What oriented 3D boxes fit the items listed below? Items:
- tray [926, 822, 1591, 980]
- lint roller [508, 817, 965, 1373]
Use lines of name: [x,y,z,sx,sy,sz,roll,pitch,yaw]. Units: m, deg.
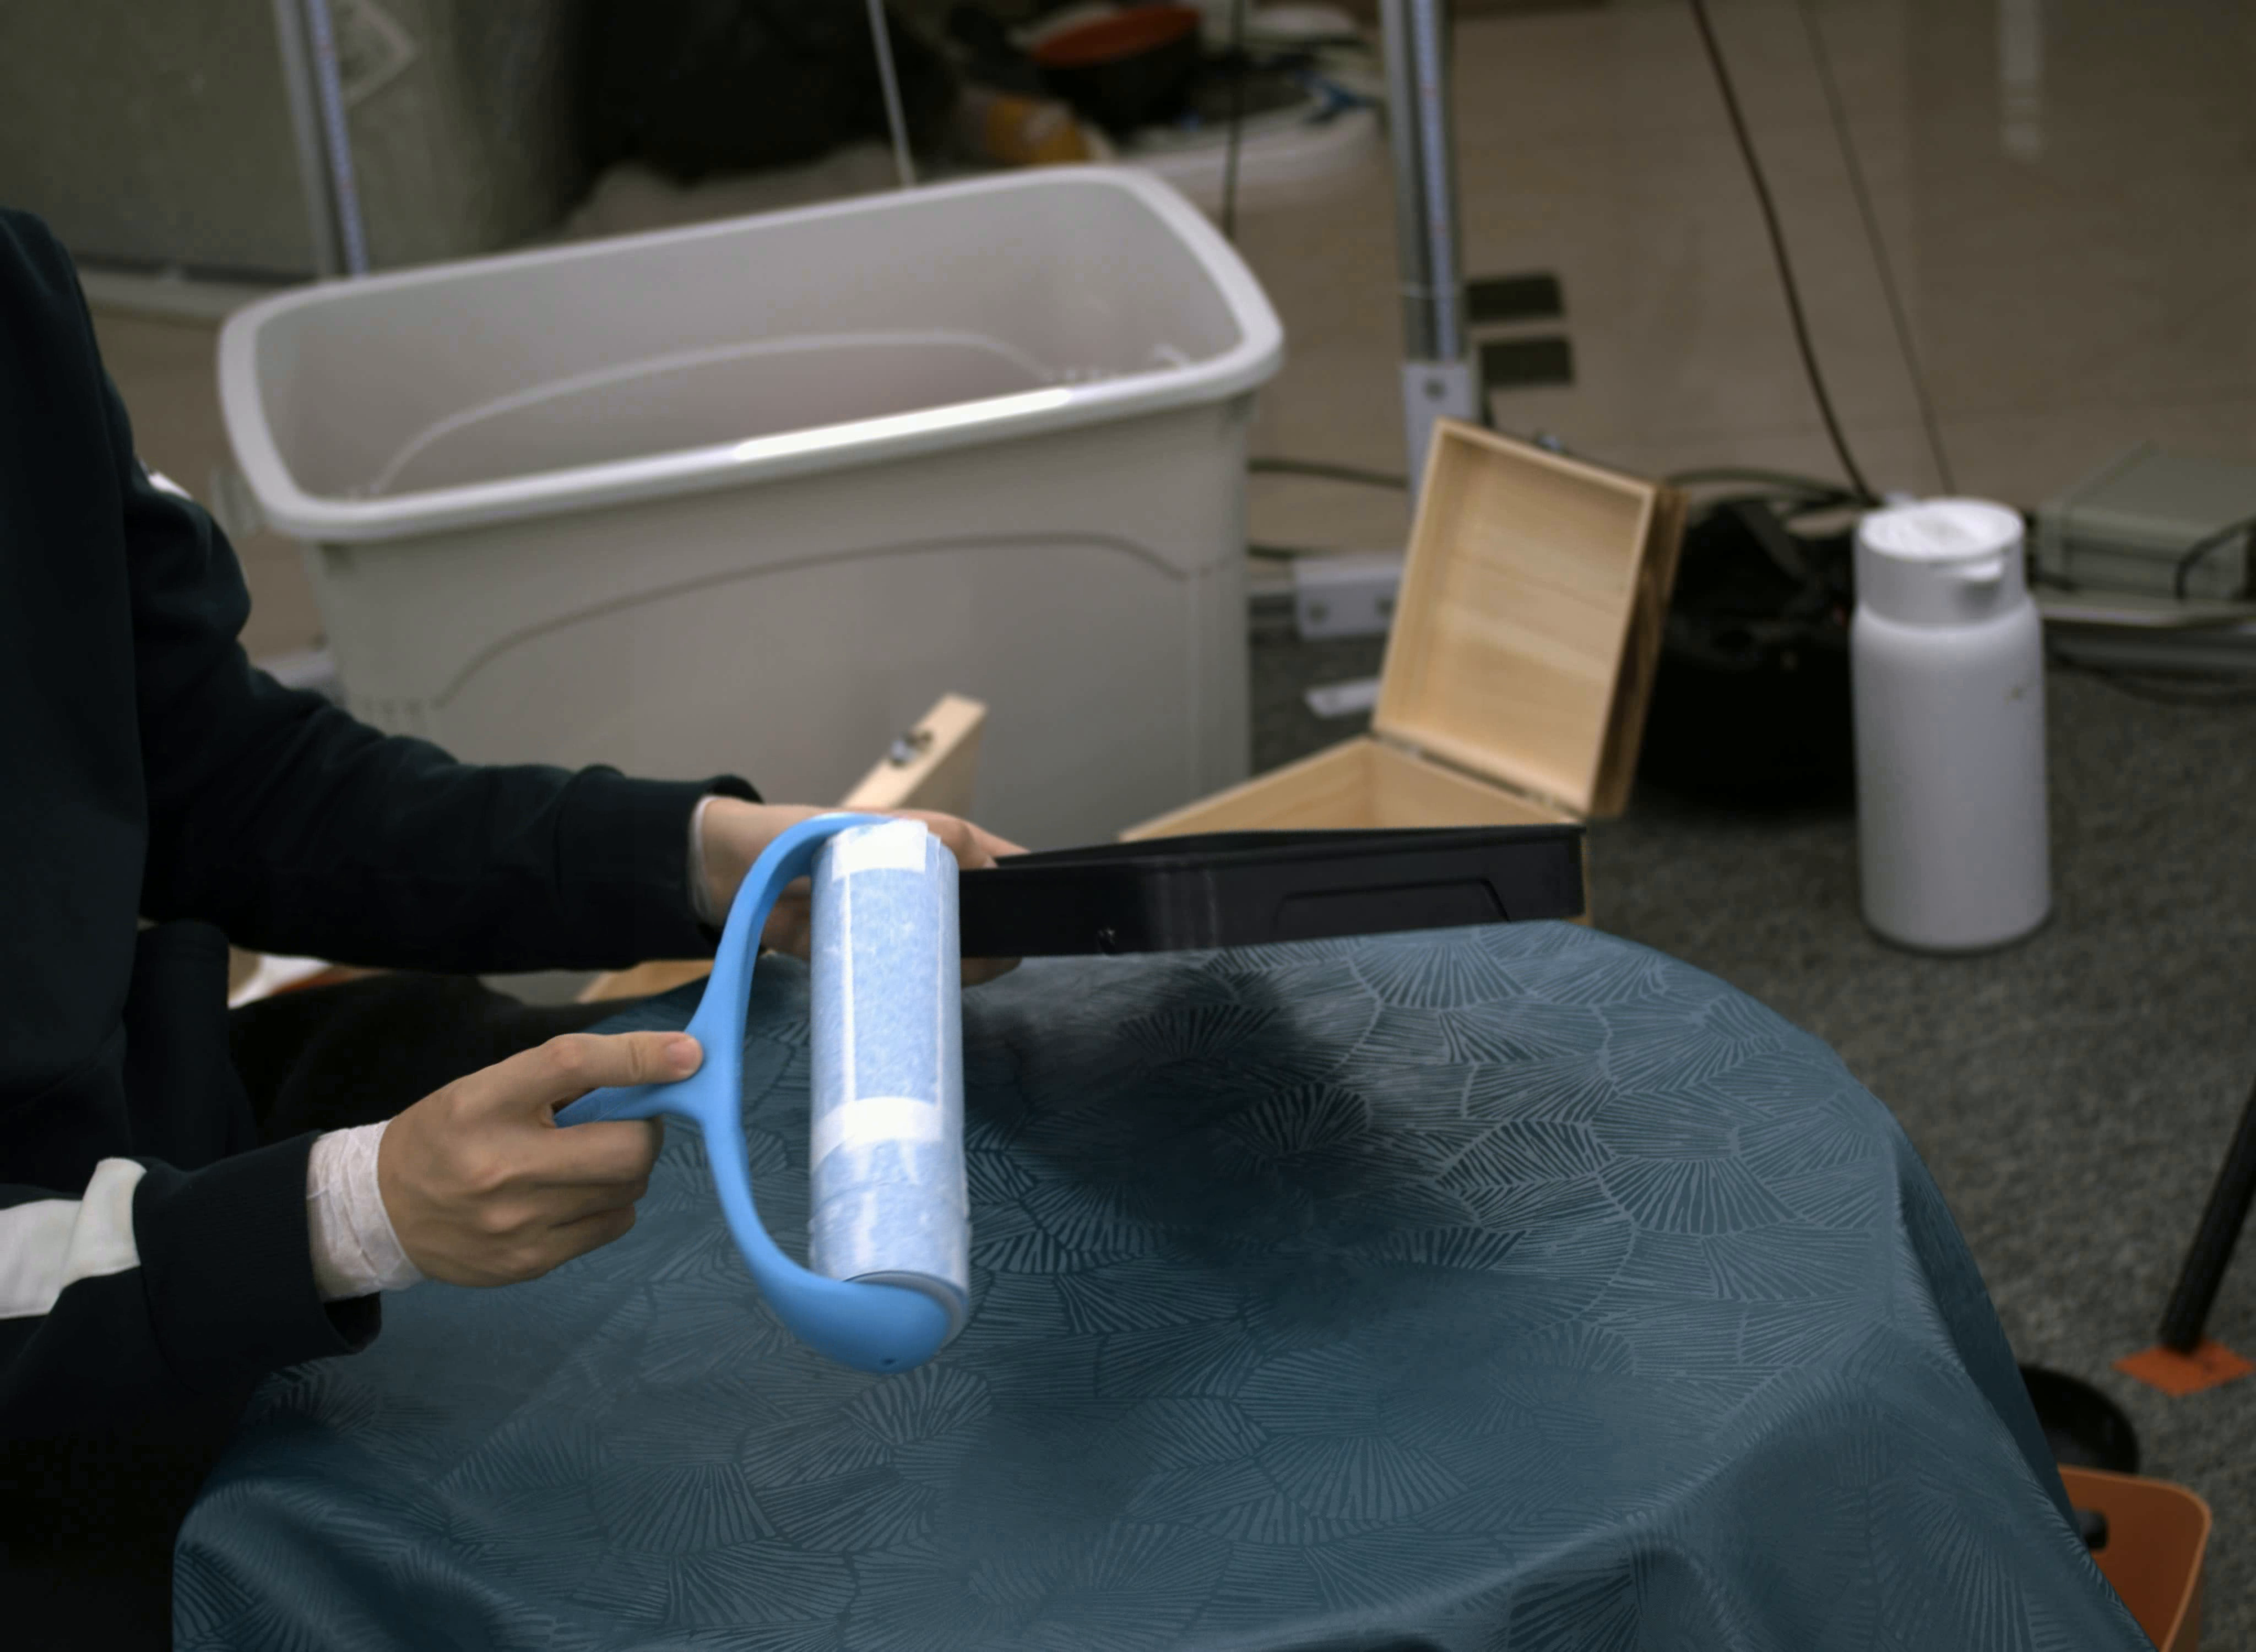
tray: [0.026,0.027,2.164,0.184,0.037,0.317,-7,4,-26]
lint roller: [-0.141,0.104,1.965,0.180,0.069,0.225,-14,51,11]
